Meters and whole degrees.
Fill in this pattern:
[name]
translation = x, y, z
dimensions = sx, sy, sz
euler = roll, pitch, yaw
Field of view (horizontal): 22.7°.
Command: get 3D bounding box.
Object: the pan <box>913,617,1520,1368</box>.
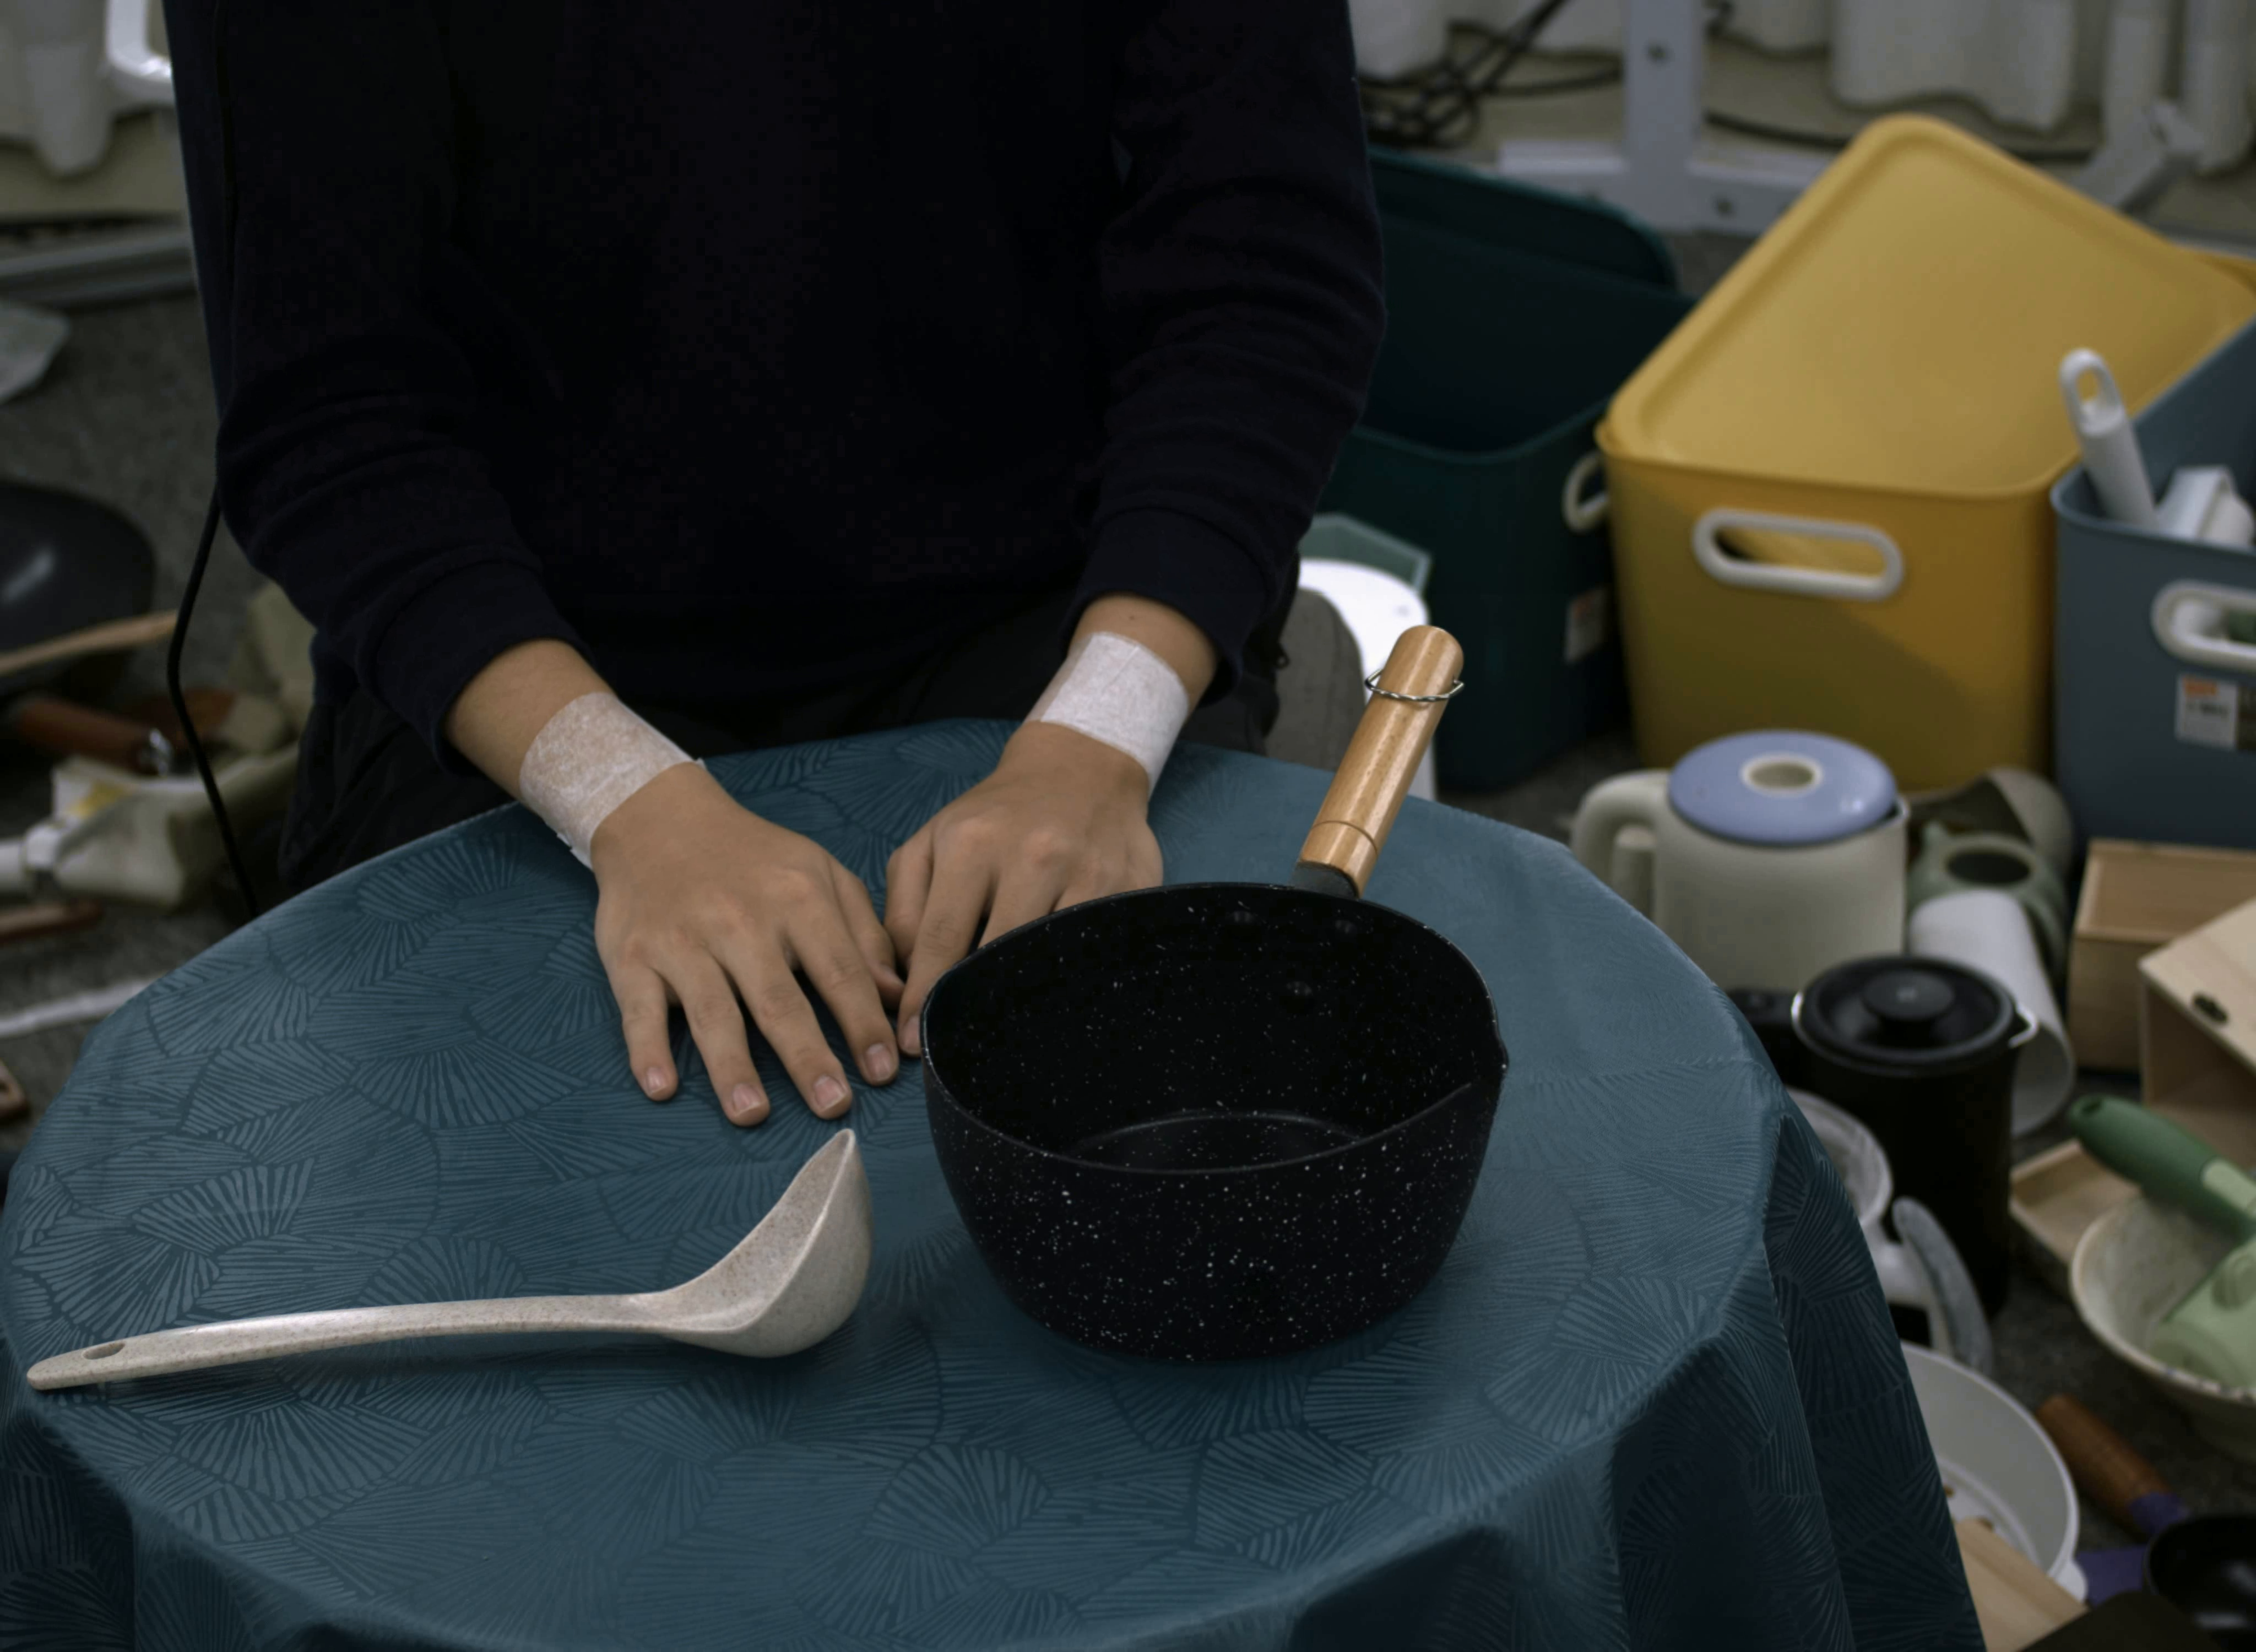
[pan]
translation = 0.052, 0.052, 1.875
dimensions = 0.206, 0.107, 0.349
euler = 5, 30, 18

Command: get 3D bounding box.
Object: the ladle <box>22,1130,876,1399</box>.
[ladle]
translation = -0.216, 0.140, 1.779
dimensions = 0.273, 0.069, 0.090
euler = -4, 21, 1
